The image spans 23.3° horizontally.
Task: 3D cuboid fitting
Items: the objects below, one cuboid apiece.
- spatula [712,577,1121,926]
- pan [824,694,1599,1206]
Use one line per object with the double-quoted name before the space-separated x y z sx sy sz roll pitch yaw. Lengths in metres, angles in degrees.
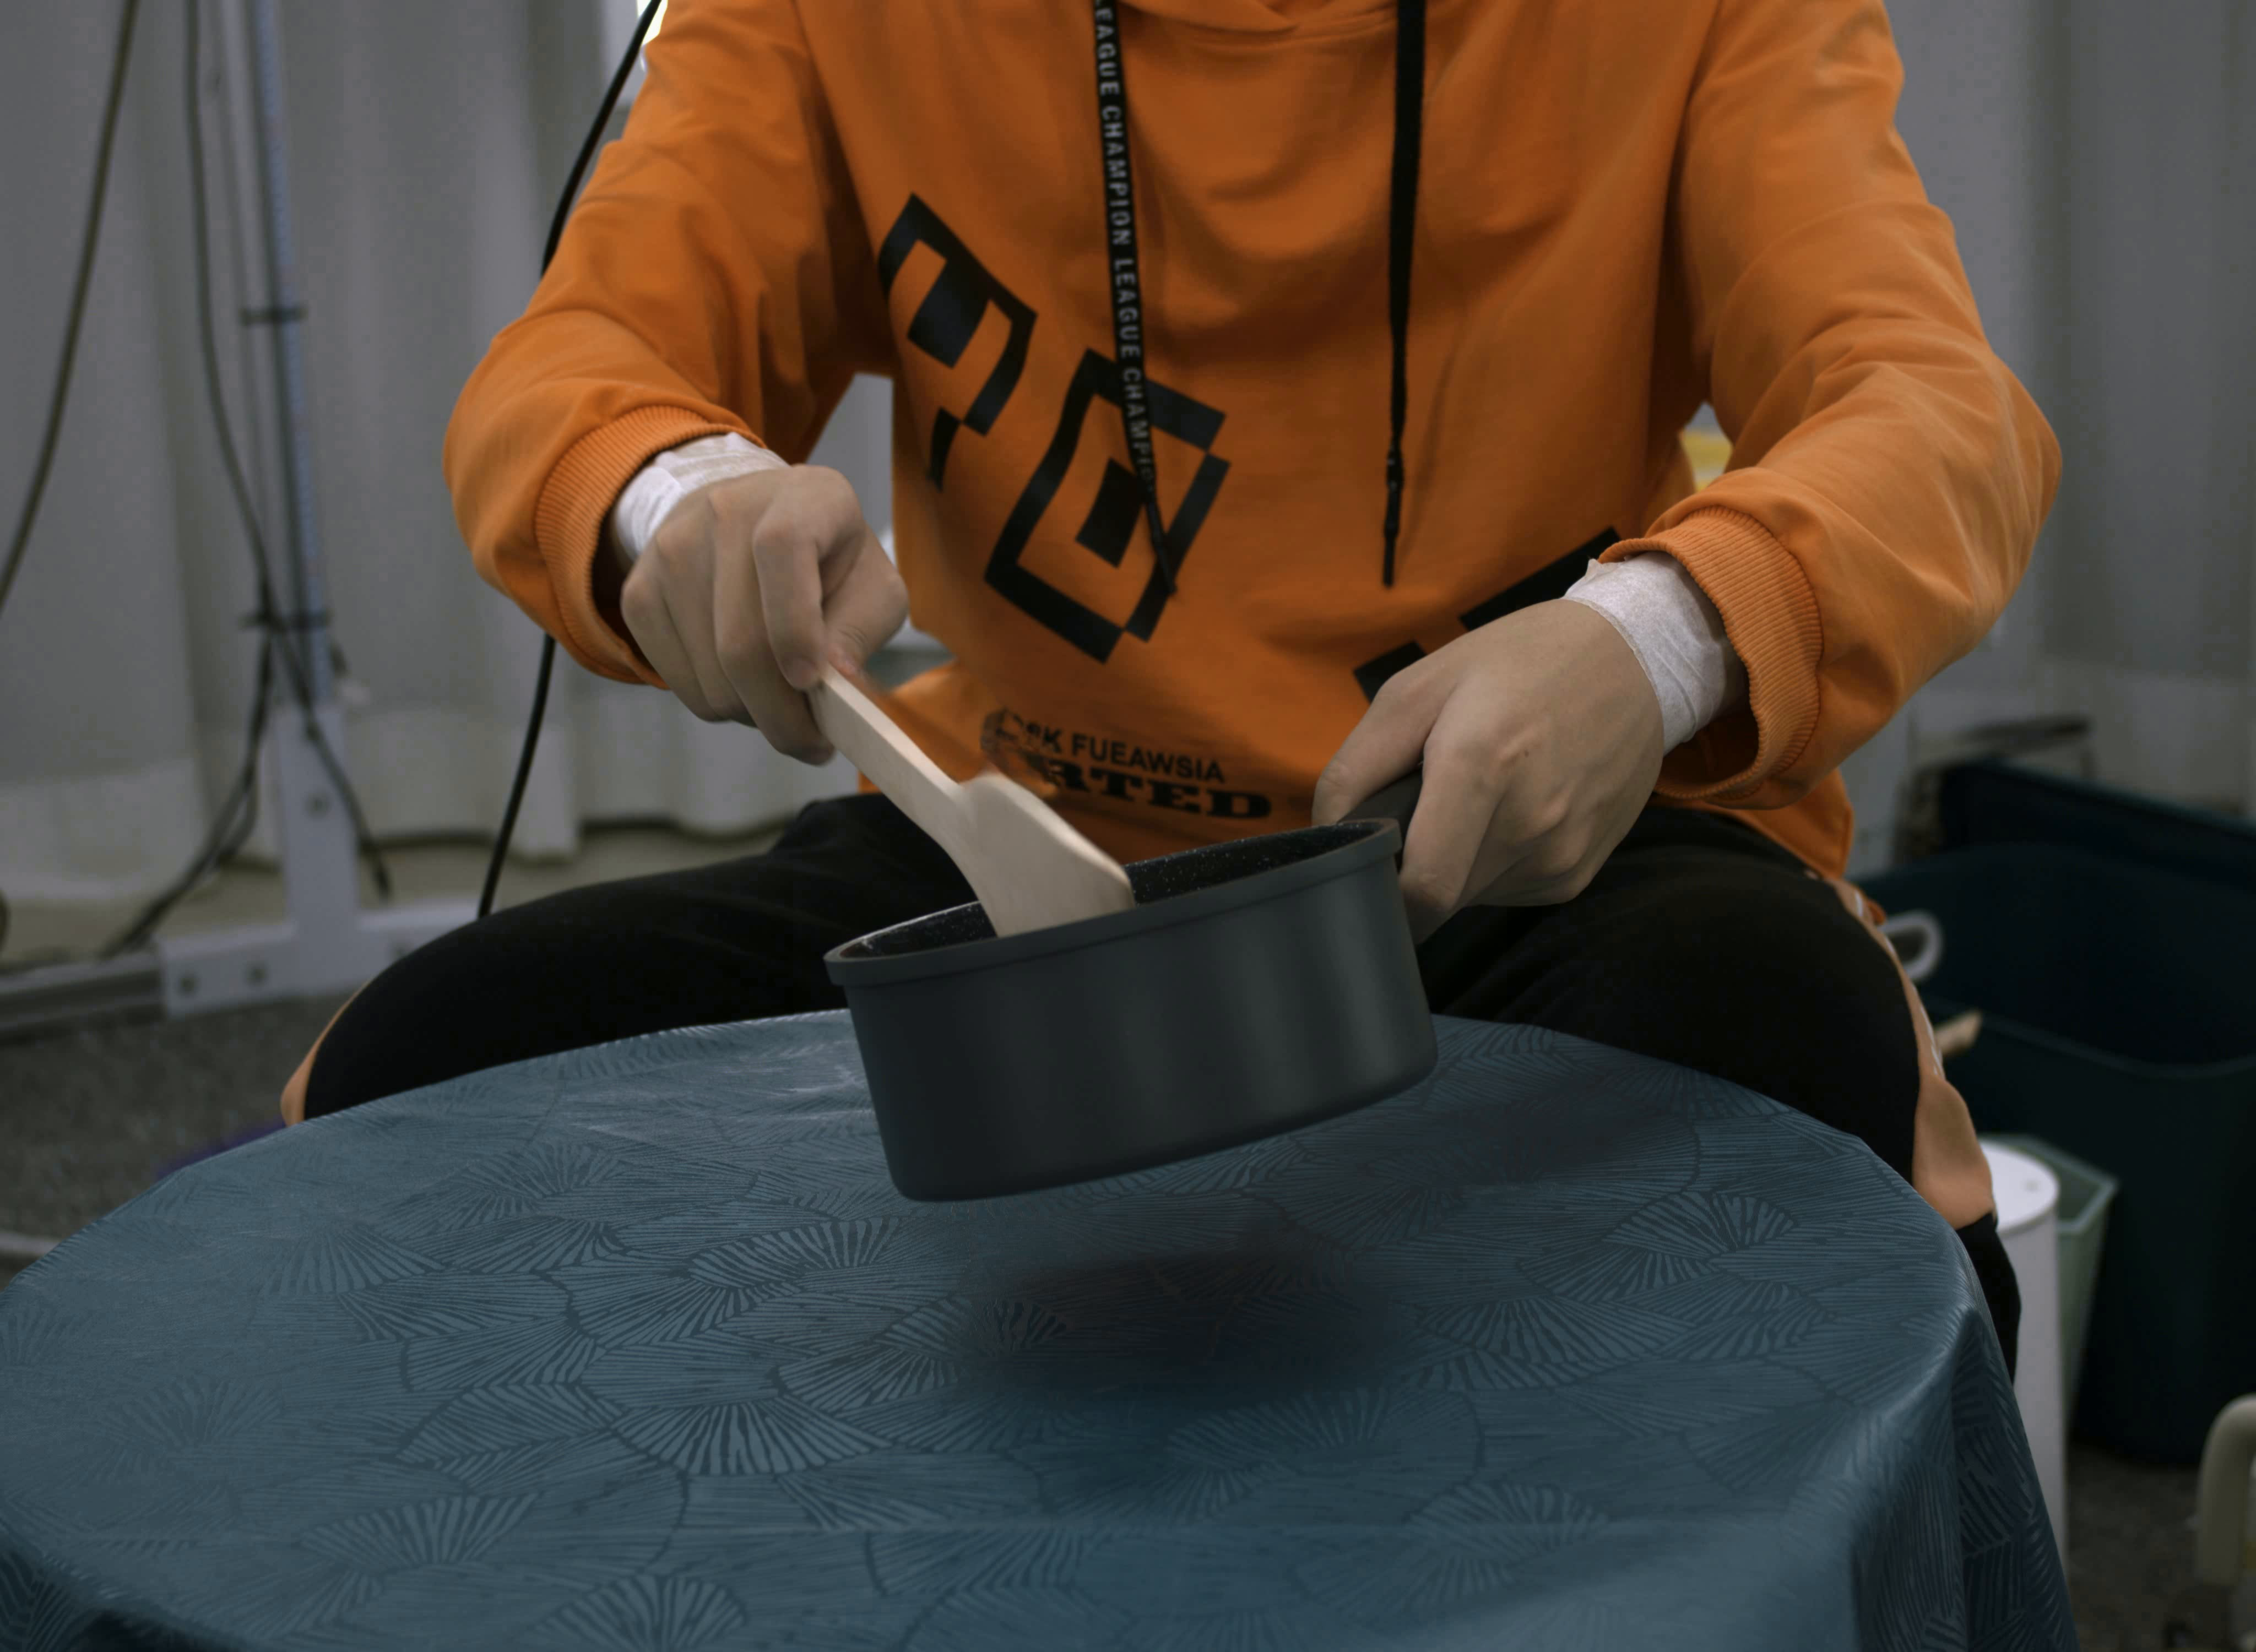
"spatula" -0.067 -0.017 1.655 0.010 0.071 0.296 -22 31 -19
"pan" 0.049 0.035 1.642 0.172 0.086 0.328 -9 7 38
